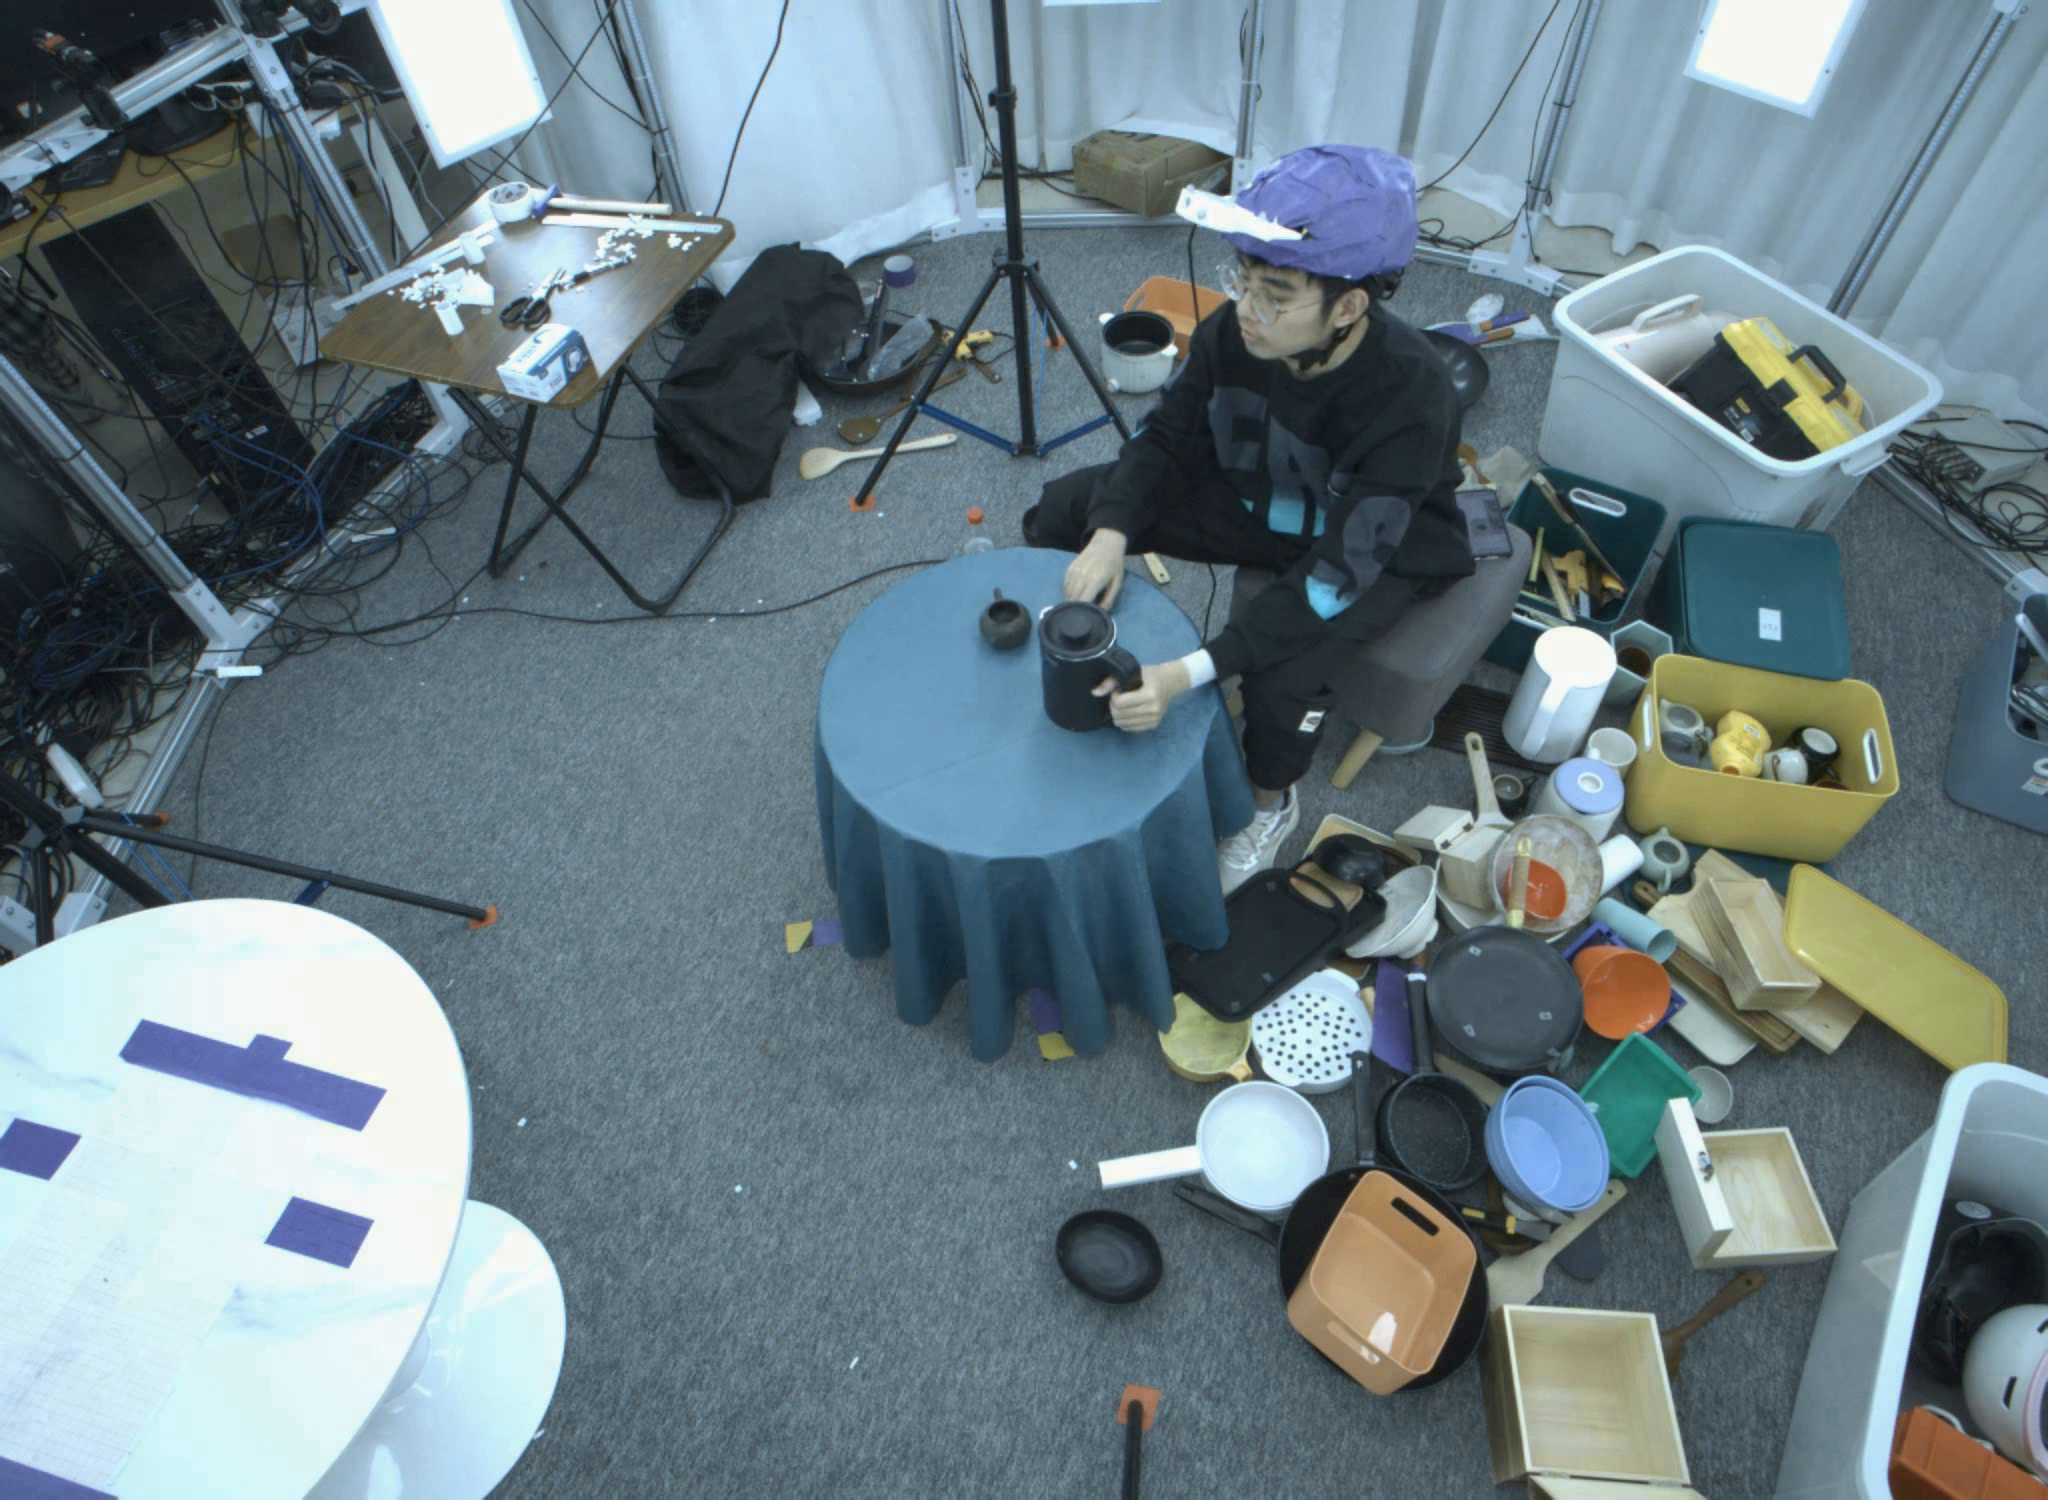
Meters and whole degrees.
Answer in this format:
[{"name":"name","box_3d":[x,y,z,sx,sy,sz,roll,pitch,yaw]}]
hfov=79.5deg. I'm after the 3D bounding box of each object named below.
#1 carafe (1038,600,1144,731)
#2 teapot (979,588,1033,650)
[{"name":"carafe","box_3d":[0.096,-0.112,1.753,0.168,0.175,0.115,32,61,26]},{"name":"teapot","box_3d":[-0.030,-0.204,1.898,0.083,0.053,0.112,-8,57,-4]}]
